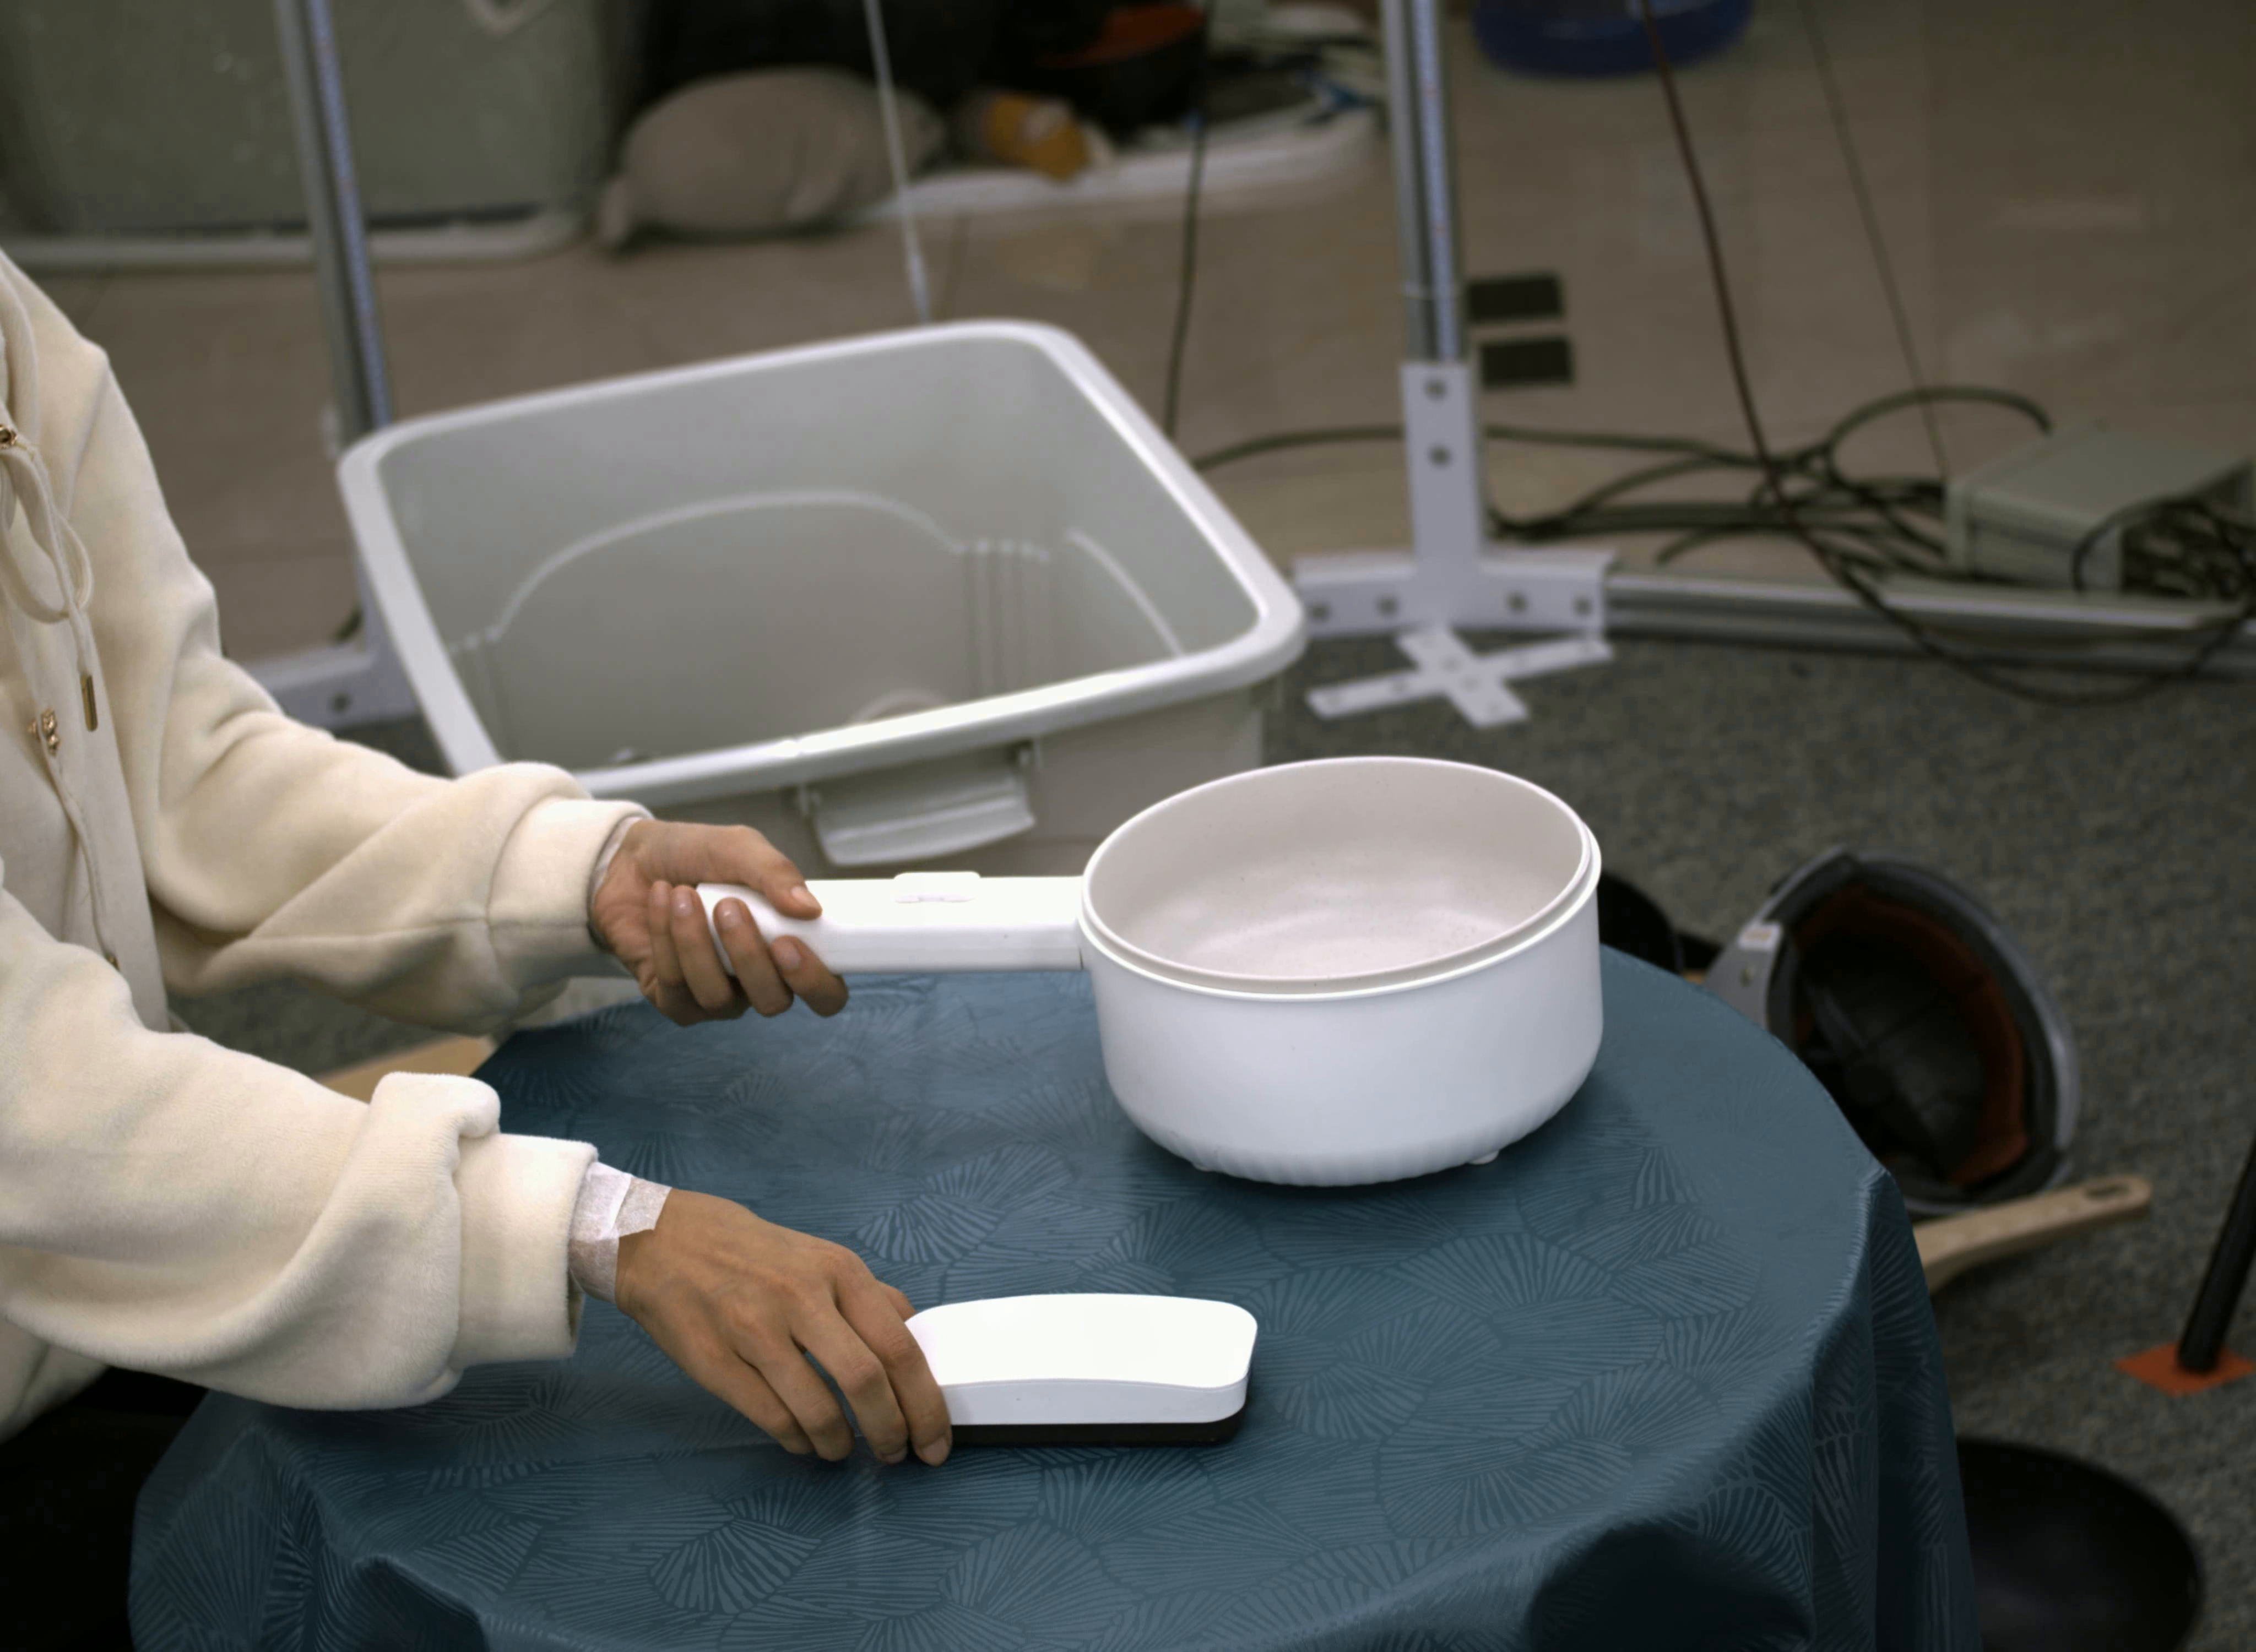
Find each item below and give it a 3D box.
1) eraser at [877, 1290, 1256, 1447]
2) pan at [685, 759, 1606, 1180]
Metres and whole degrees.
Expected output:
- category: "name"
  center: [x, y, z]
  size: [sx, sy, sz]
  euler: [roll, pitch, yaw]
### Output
- category: "eraser"
  center: [-0.021, 0.192, 2.002]
  size: [0.131, 0.035, 0.062]
  euler: [-1, 22, 10]
- category: "pan"
  center: [0.009, 0.064, 2.188]
  size: [0.354, 0.103, 0.198]
  euler: [-4, 23, 10]
